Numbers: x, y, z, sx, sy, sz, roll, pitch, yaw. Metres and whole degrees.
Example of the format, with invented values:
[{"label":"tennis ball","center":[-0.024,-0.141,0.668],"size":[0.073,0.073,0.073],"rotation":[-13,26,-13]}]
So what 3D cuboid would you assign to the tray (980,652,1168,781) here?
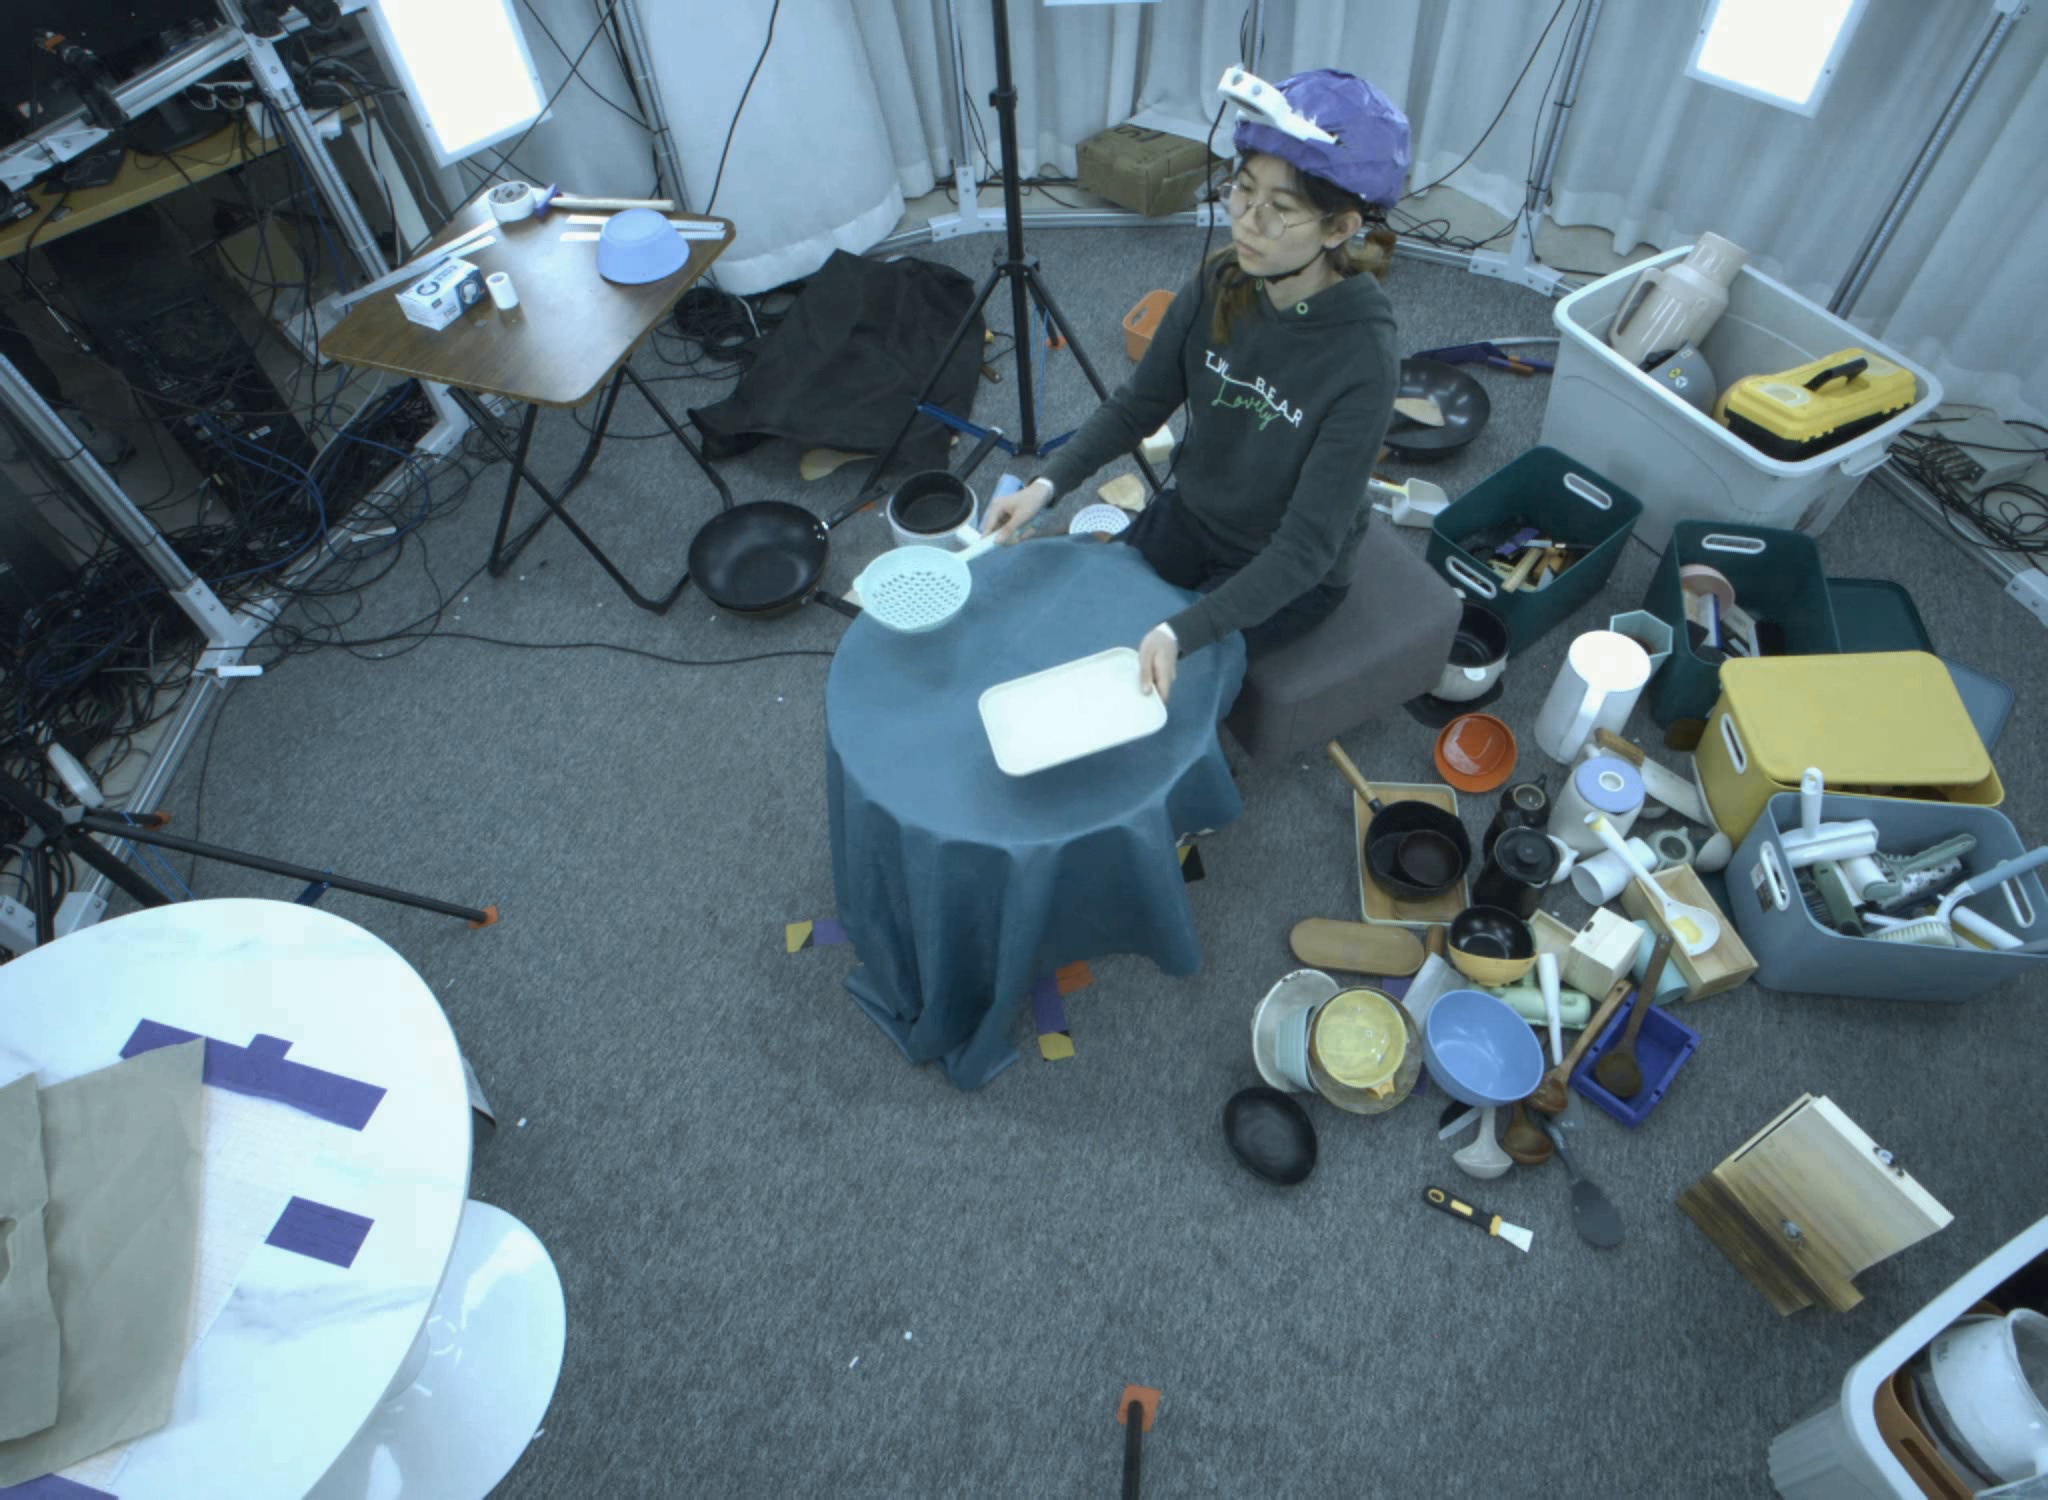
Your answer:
[{"label":"tray","center":[0.068,-0.046,1.699],"size":[0.240,0.018,0.168],"rotation":[-17,50,-4]}]

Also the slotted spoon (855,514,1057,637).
[{"label":"slotted spoon","center":[-0.088,-0.287,1.885],"size":[0.361,0.076,0.166],"rotation":[-39,65,-18]}]
